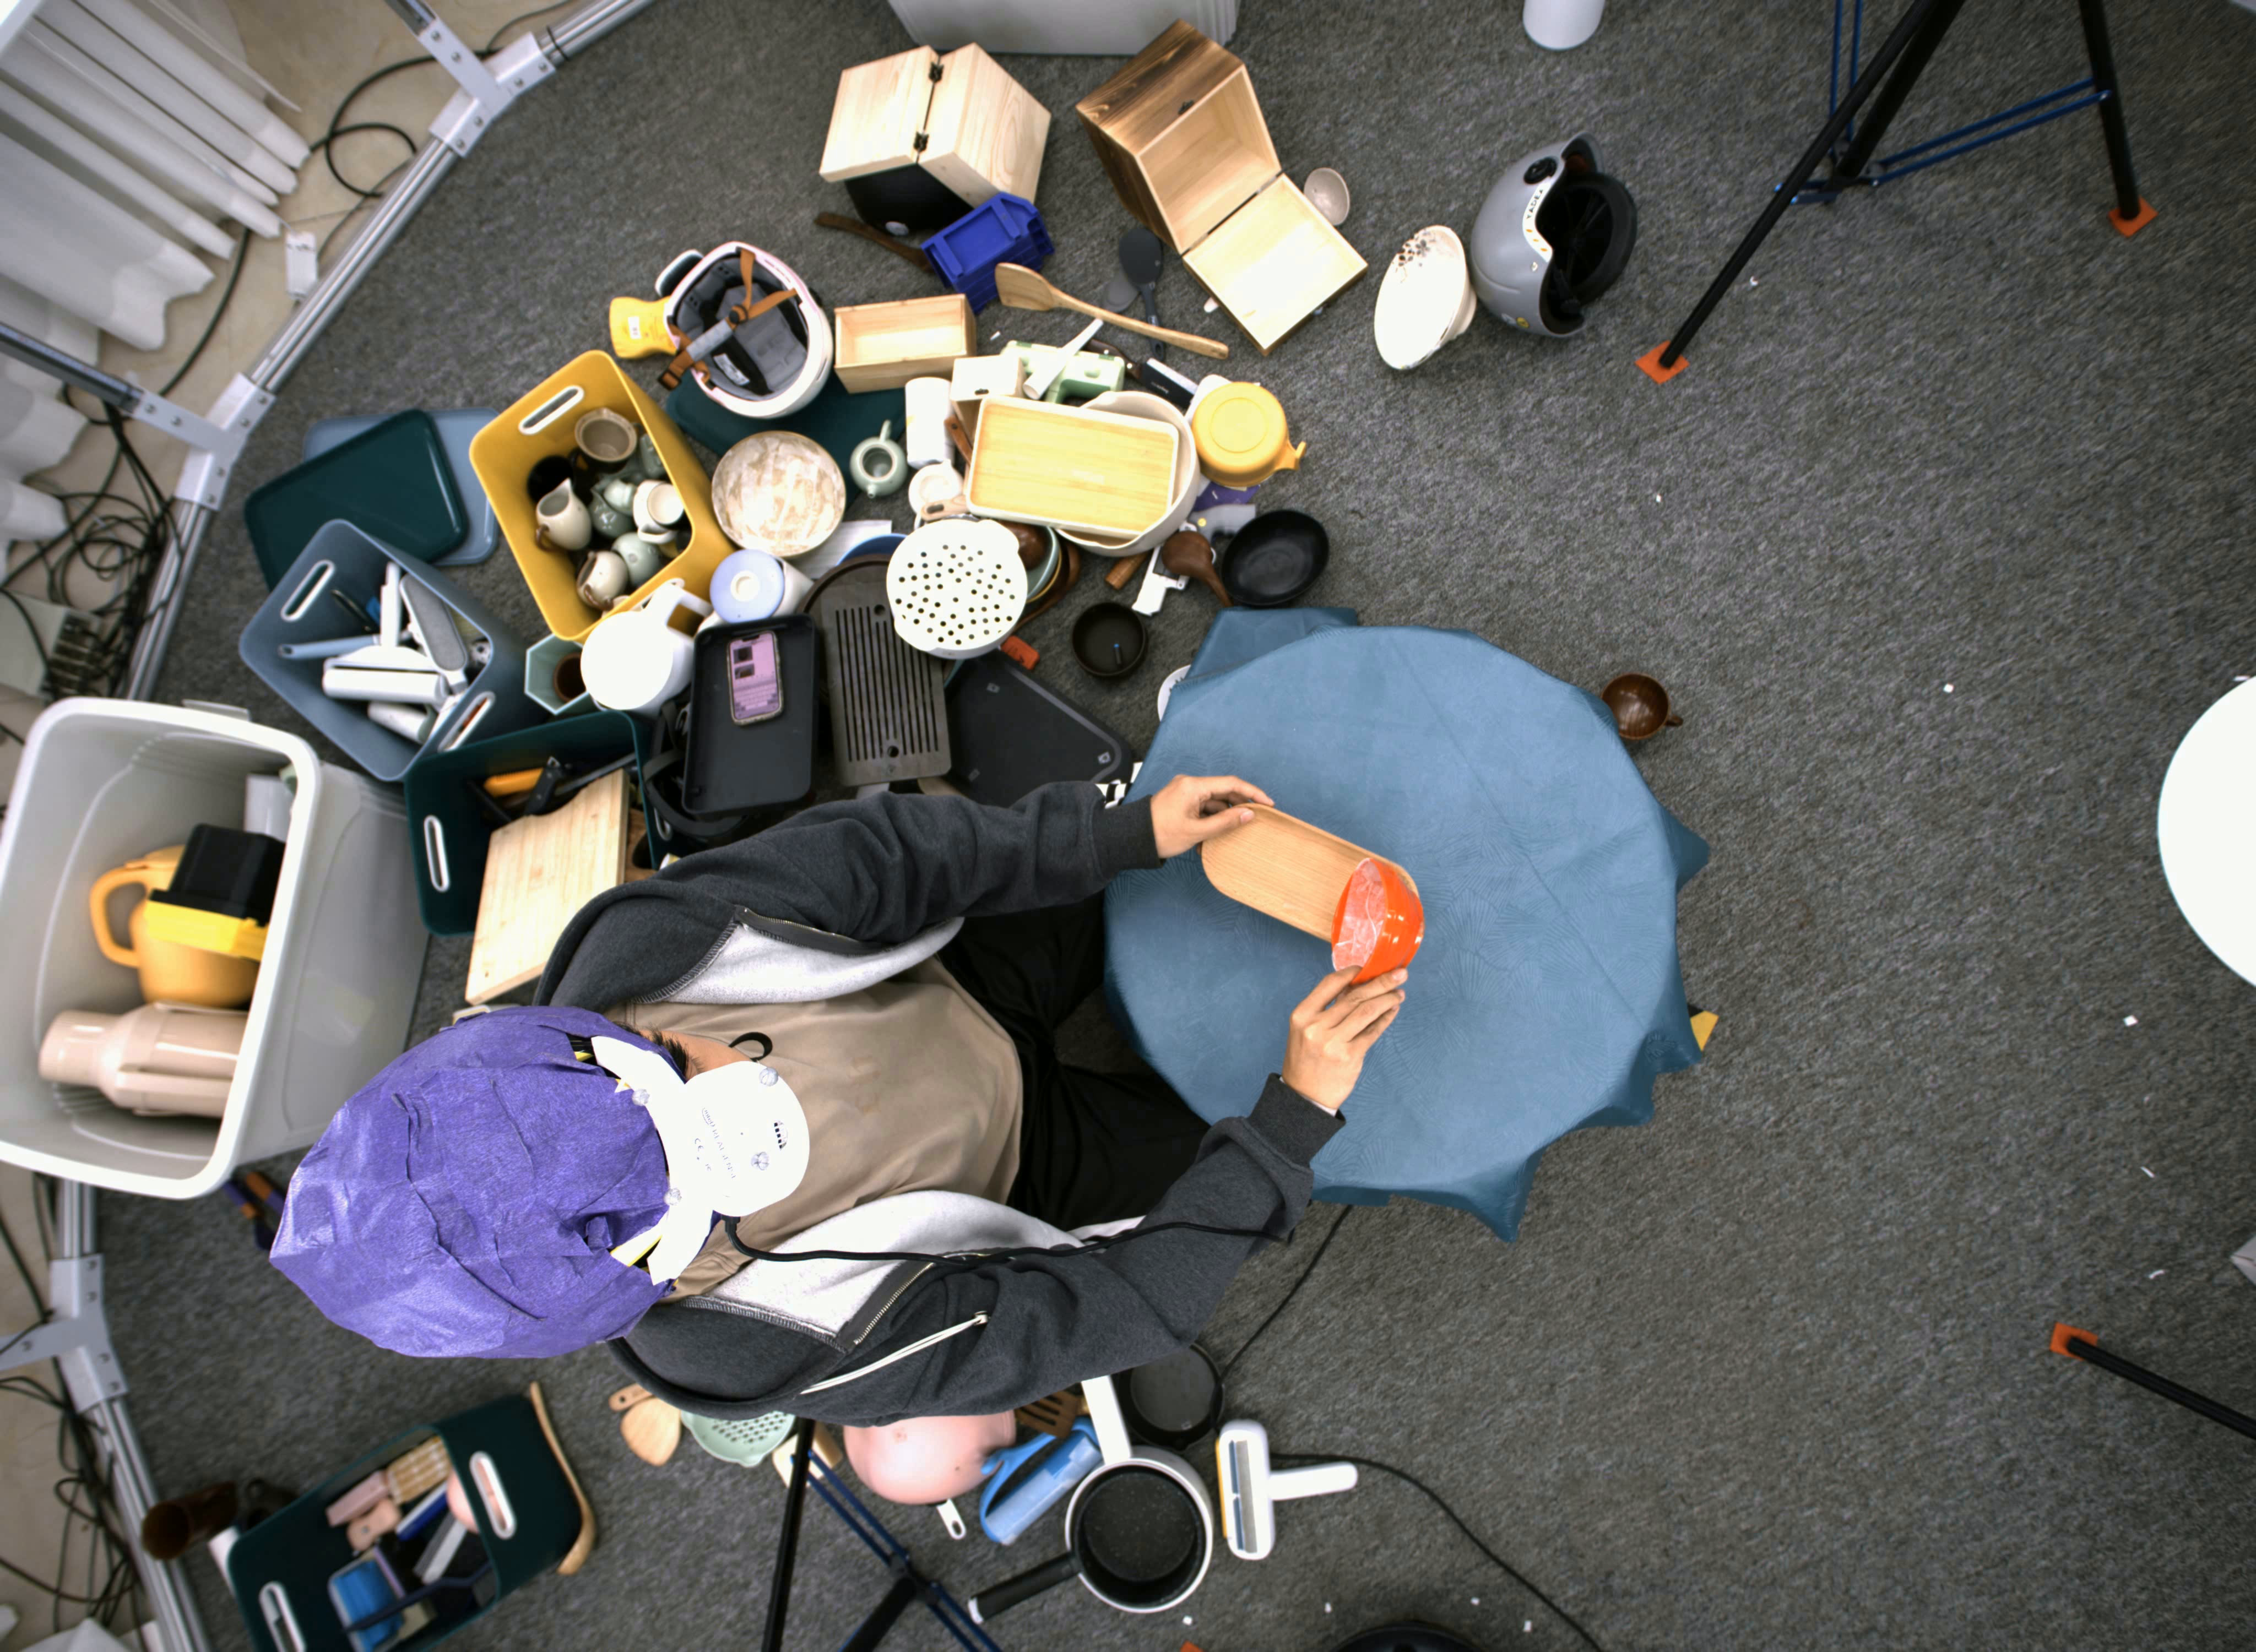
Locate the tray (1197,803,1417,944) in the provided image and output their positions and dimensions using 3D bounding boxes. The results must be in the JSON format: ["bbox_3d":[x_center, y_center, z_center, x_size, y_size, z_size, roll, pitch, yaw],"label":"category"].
[{"bbox_3d":[0.180,0.053,1.395,0.231,0.020,0.102,23,93,3],"label":"tray"}]

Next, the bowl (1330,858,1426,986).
[{"bbox_3d":[0.232,0.091,1.264,0.051,0.119,0.118,12,87,-15],"label":"bowl"}]
